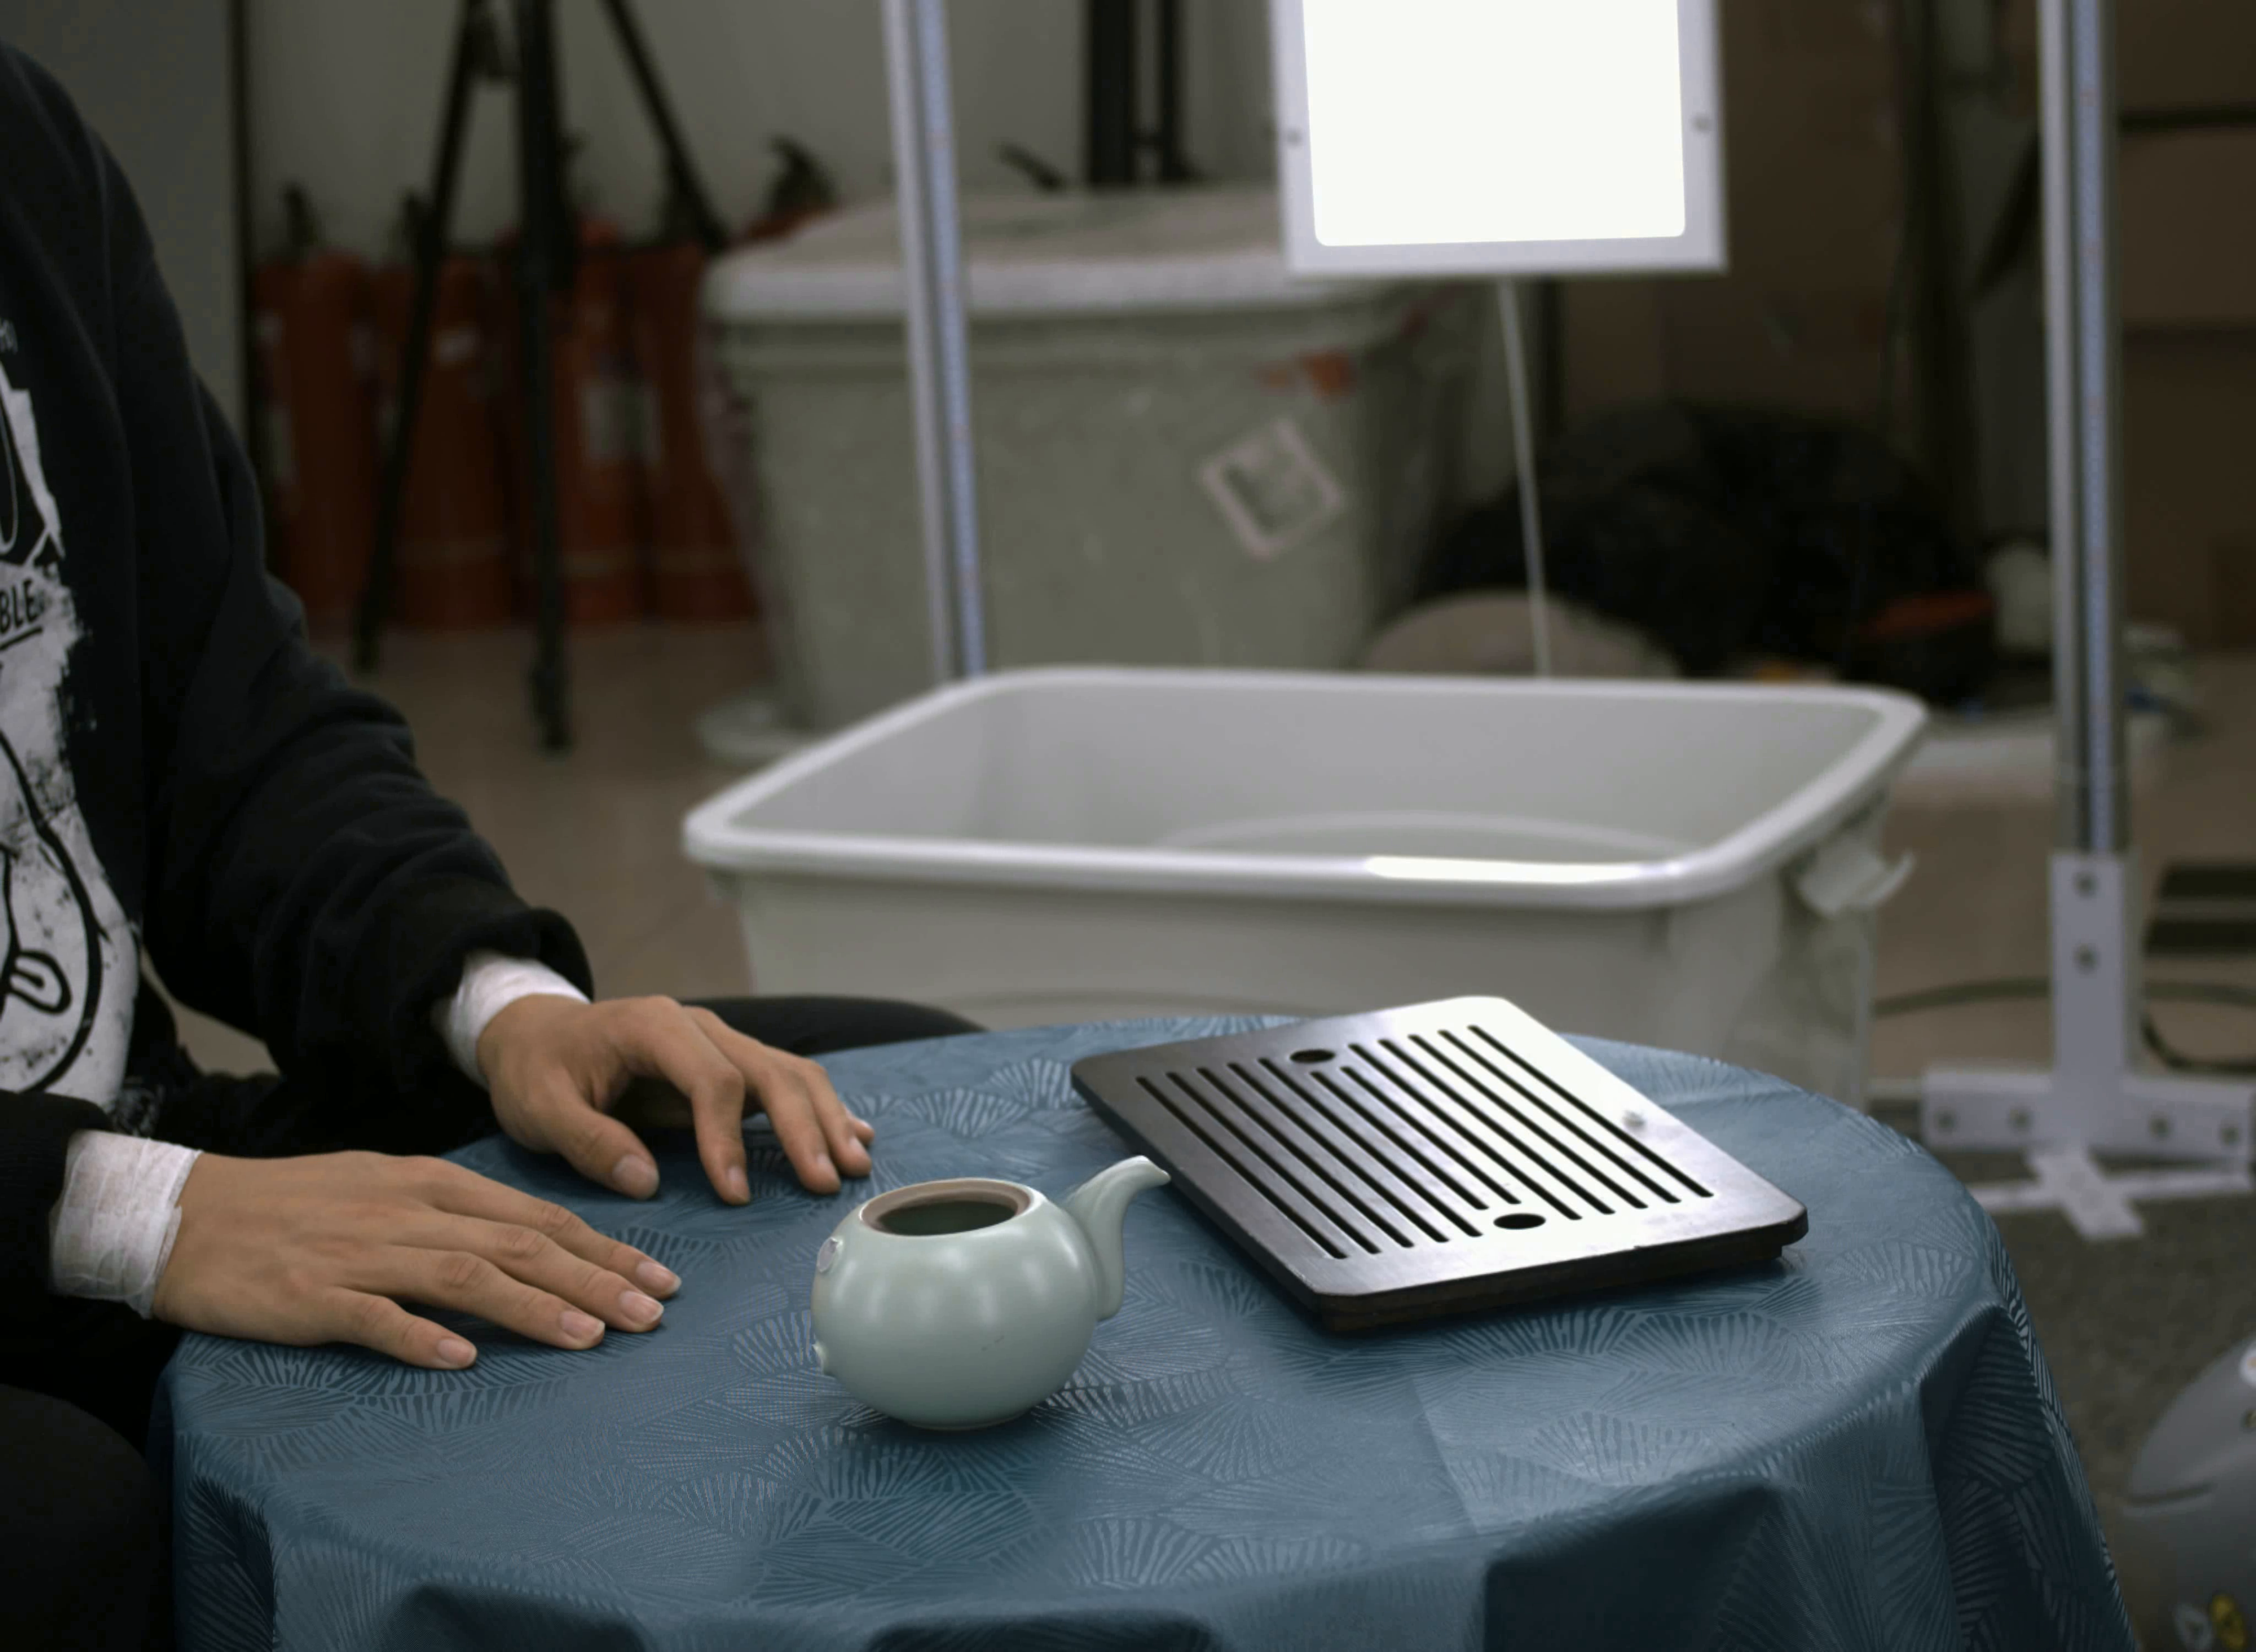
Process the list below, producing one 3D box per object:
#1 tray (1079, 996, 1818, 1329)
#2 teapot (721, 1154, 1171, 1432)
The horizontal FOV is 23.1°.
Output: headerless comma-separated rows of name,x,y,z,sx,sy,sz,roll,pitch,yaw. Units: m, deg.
tray,0.103,0.112,1.883,0.168,0.019,0.309,-9,14,-14
teapot,-0.054,0.145,1.692,0.142,0.075,0.089,-7,14,-12
